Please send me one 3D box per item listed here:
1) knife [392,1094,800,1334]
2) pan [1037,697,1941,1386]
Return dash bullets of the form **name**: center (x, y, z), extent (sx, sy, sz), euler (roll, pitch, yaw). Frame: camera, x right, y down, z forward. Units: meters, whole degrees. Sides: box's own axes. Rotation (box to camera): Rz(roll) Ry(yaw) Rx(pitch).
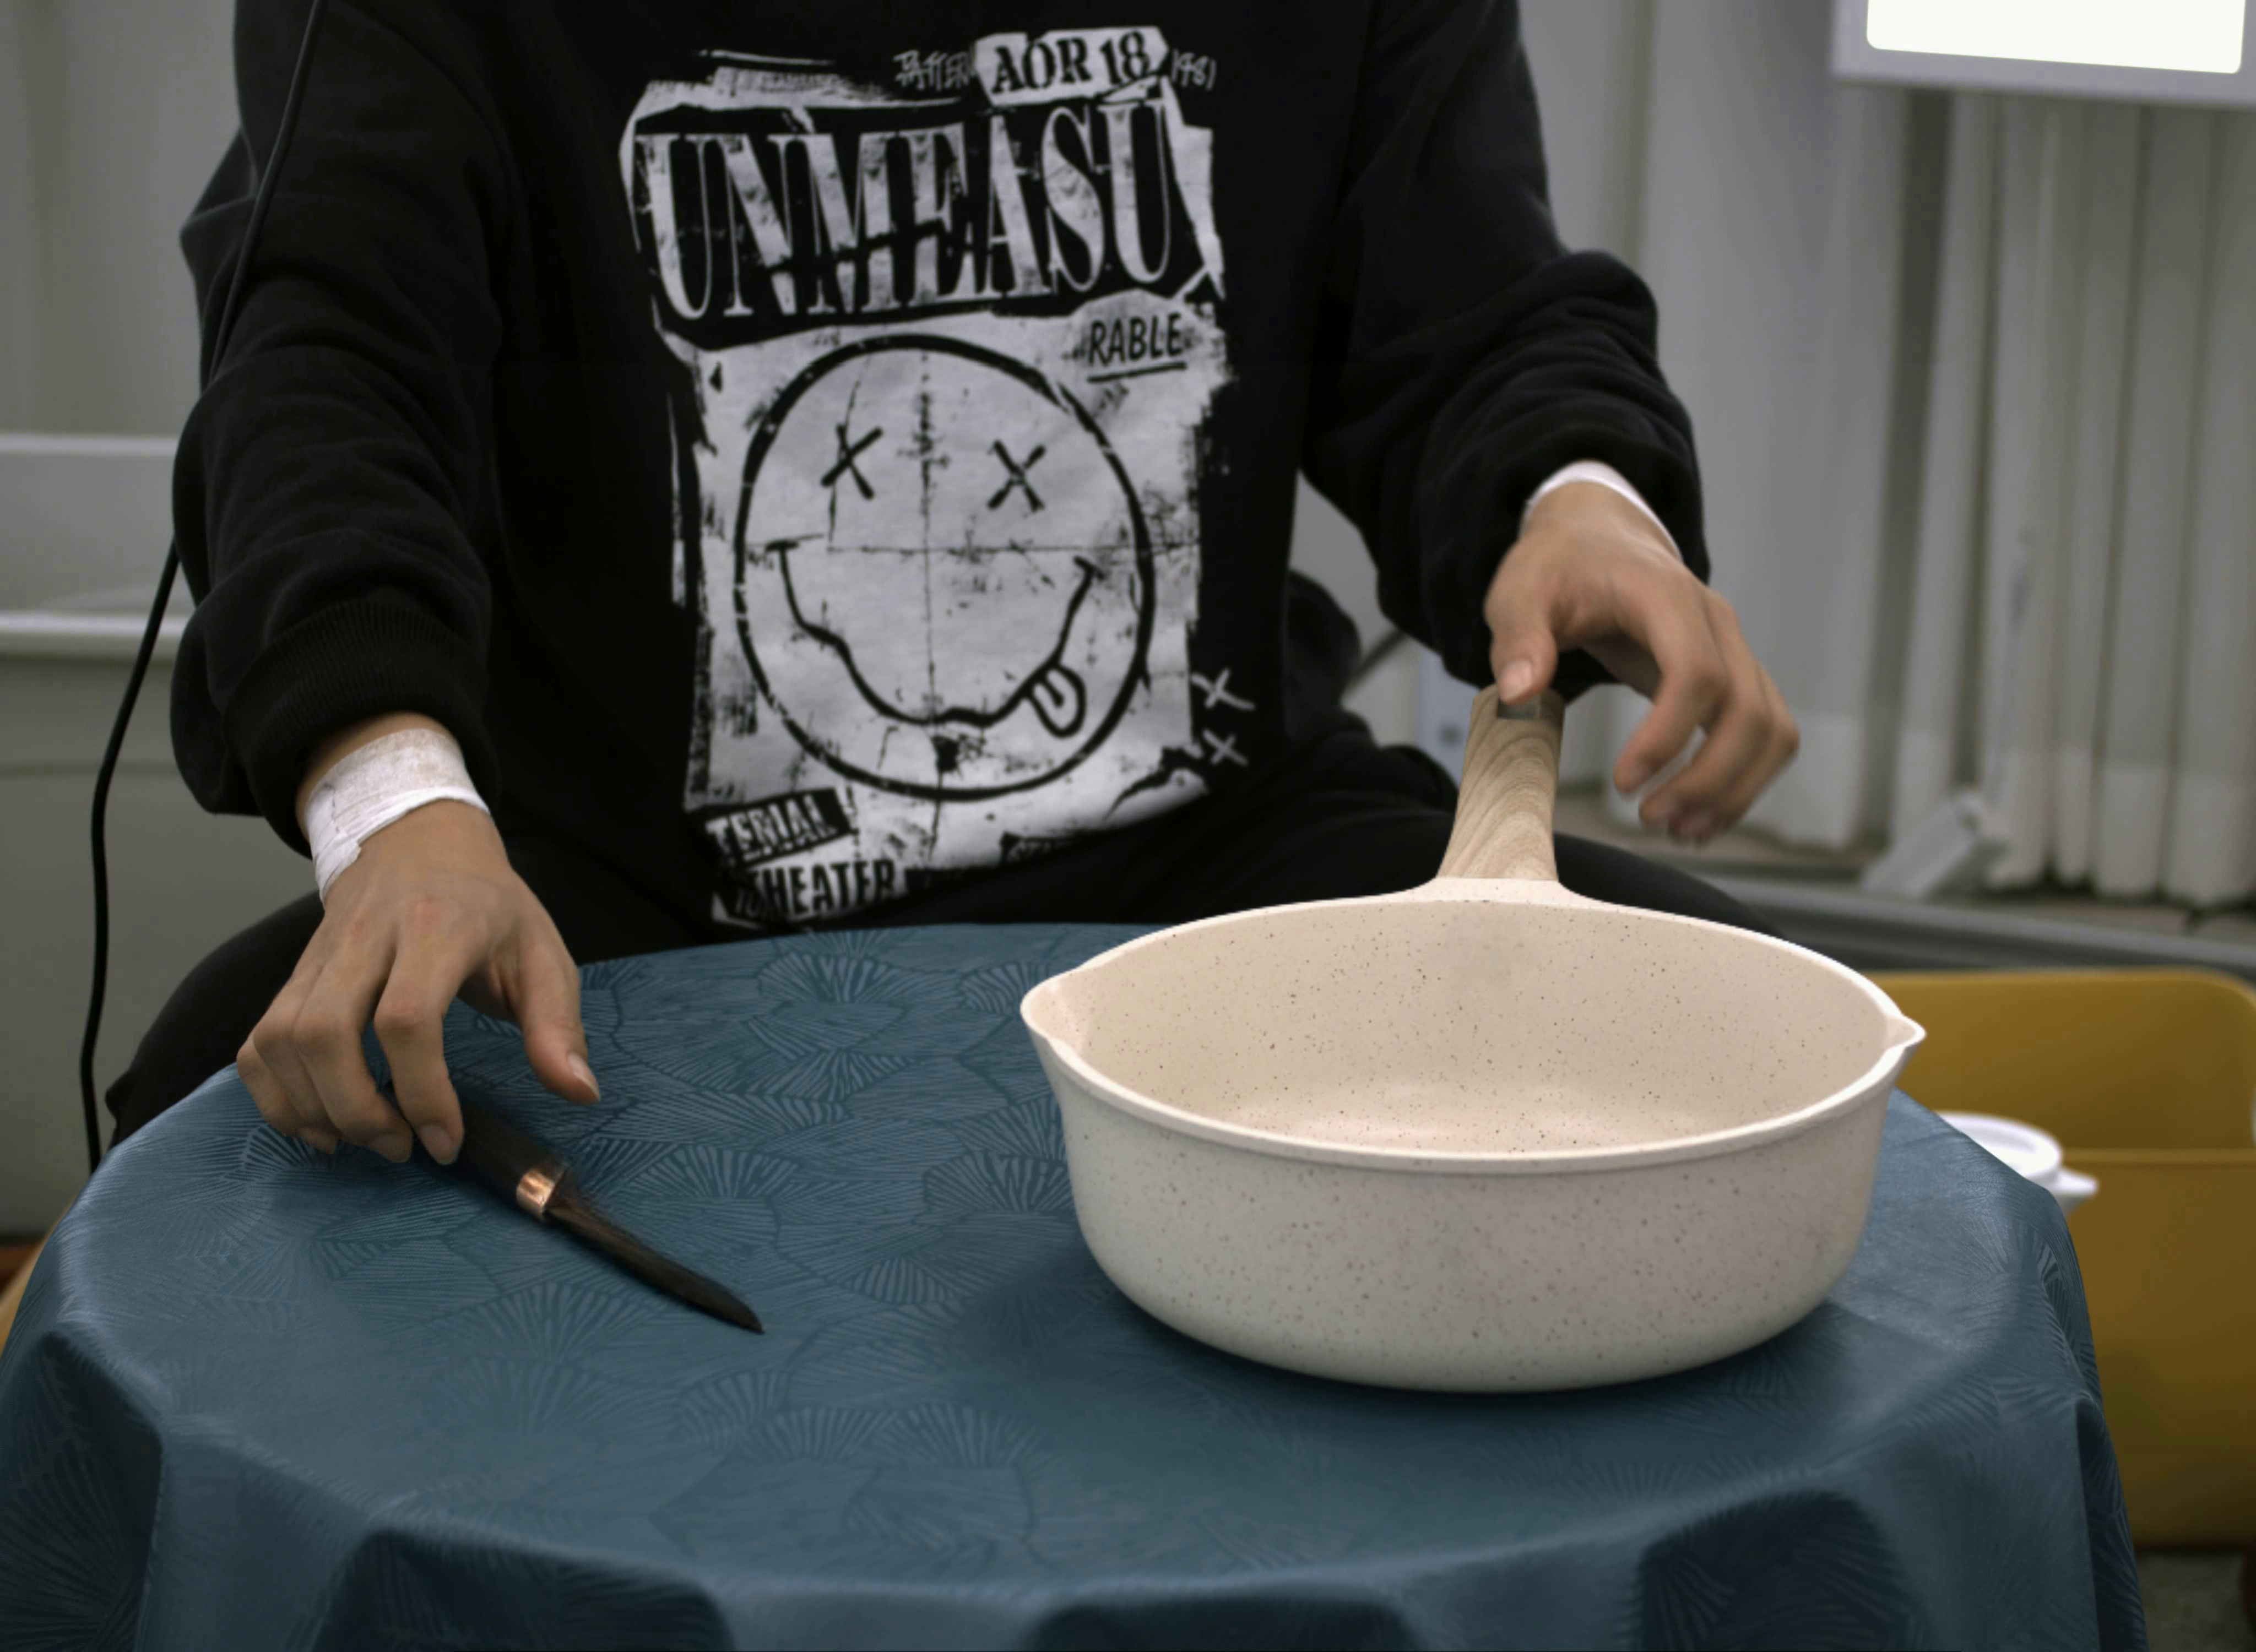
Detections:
- **knife**: center (-0.164, 0.117, 1.586), extent (0.026, 0.017, 0.222), euler (9, 8, -38)
- **pan**: center (0.114, 0.061, 1.625), extent (0.262, 0.103, 0.433), euler (0, 15, 5)
